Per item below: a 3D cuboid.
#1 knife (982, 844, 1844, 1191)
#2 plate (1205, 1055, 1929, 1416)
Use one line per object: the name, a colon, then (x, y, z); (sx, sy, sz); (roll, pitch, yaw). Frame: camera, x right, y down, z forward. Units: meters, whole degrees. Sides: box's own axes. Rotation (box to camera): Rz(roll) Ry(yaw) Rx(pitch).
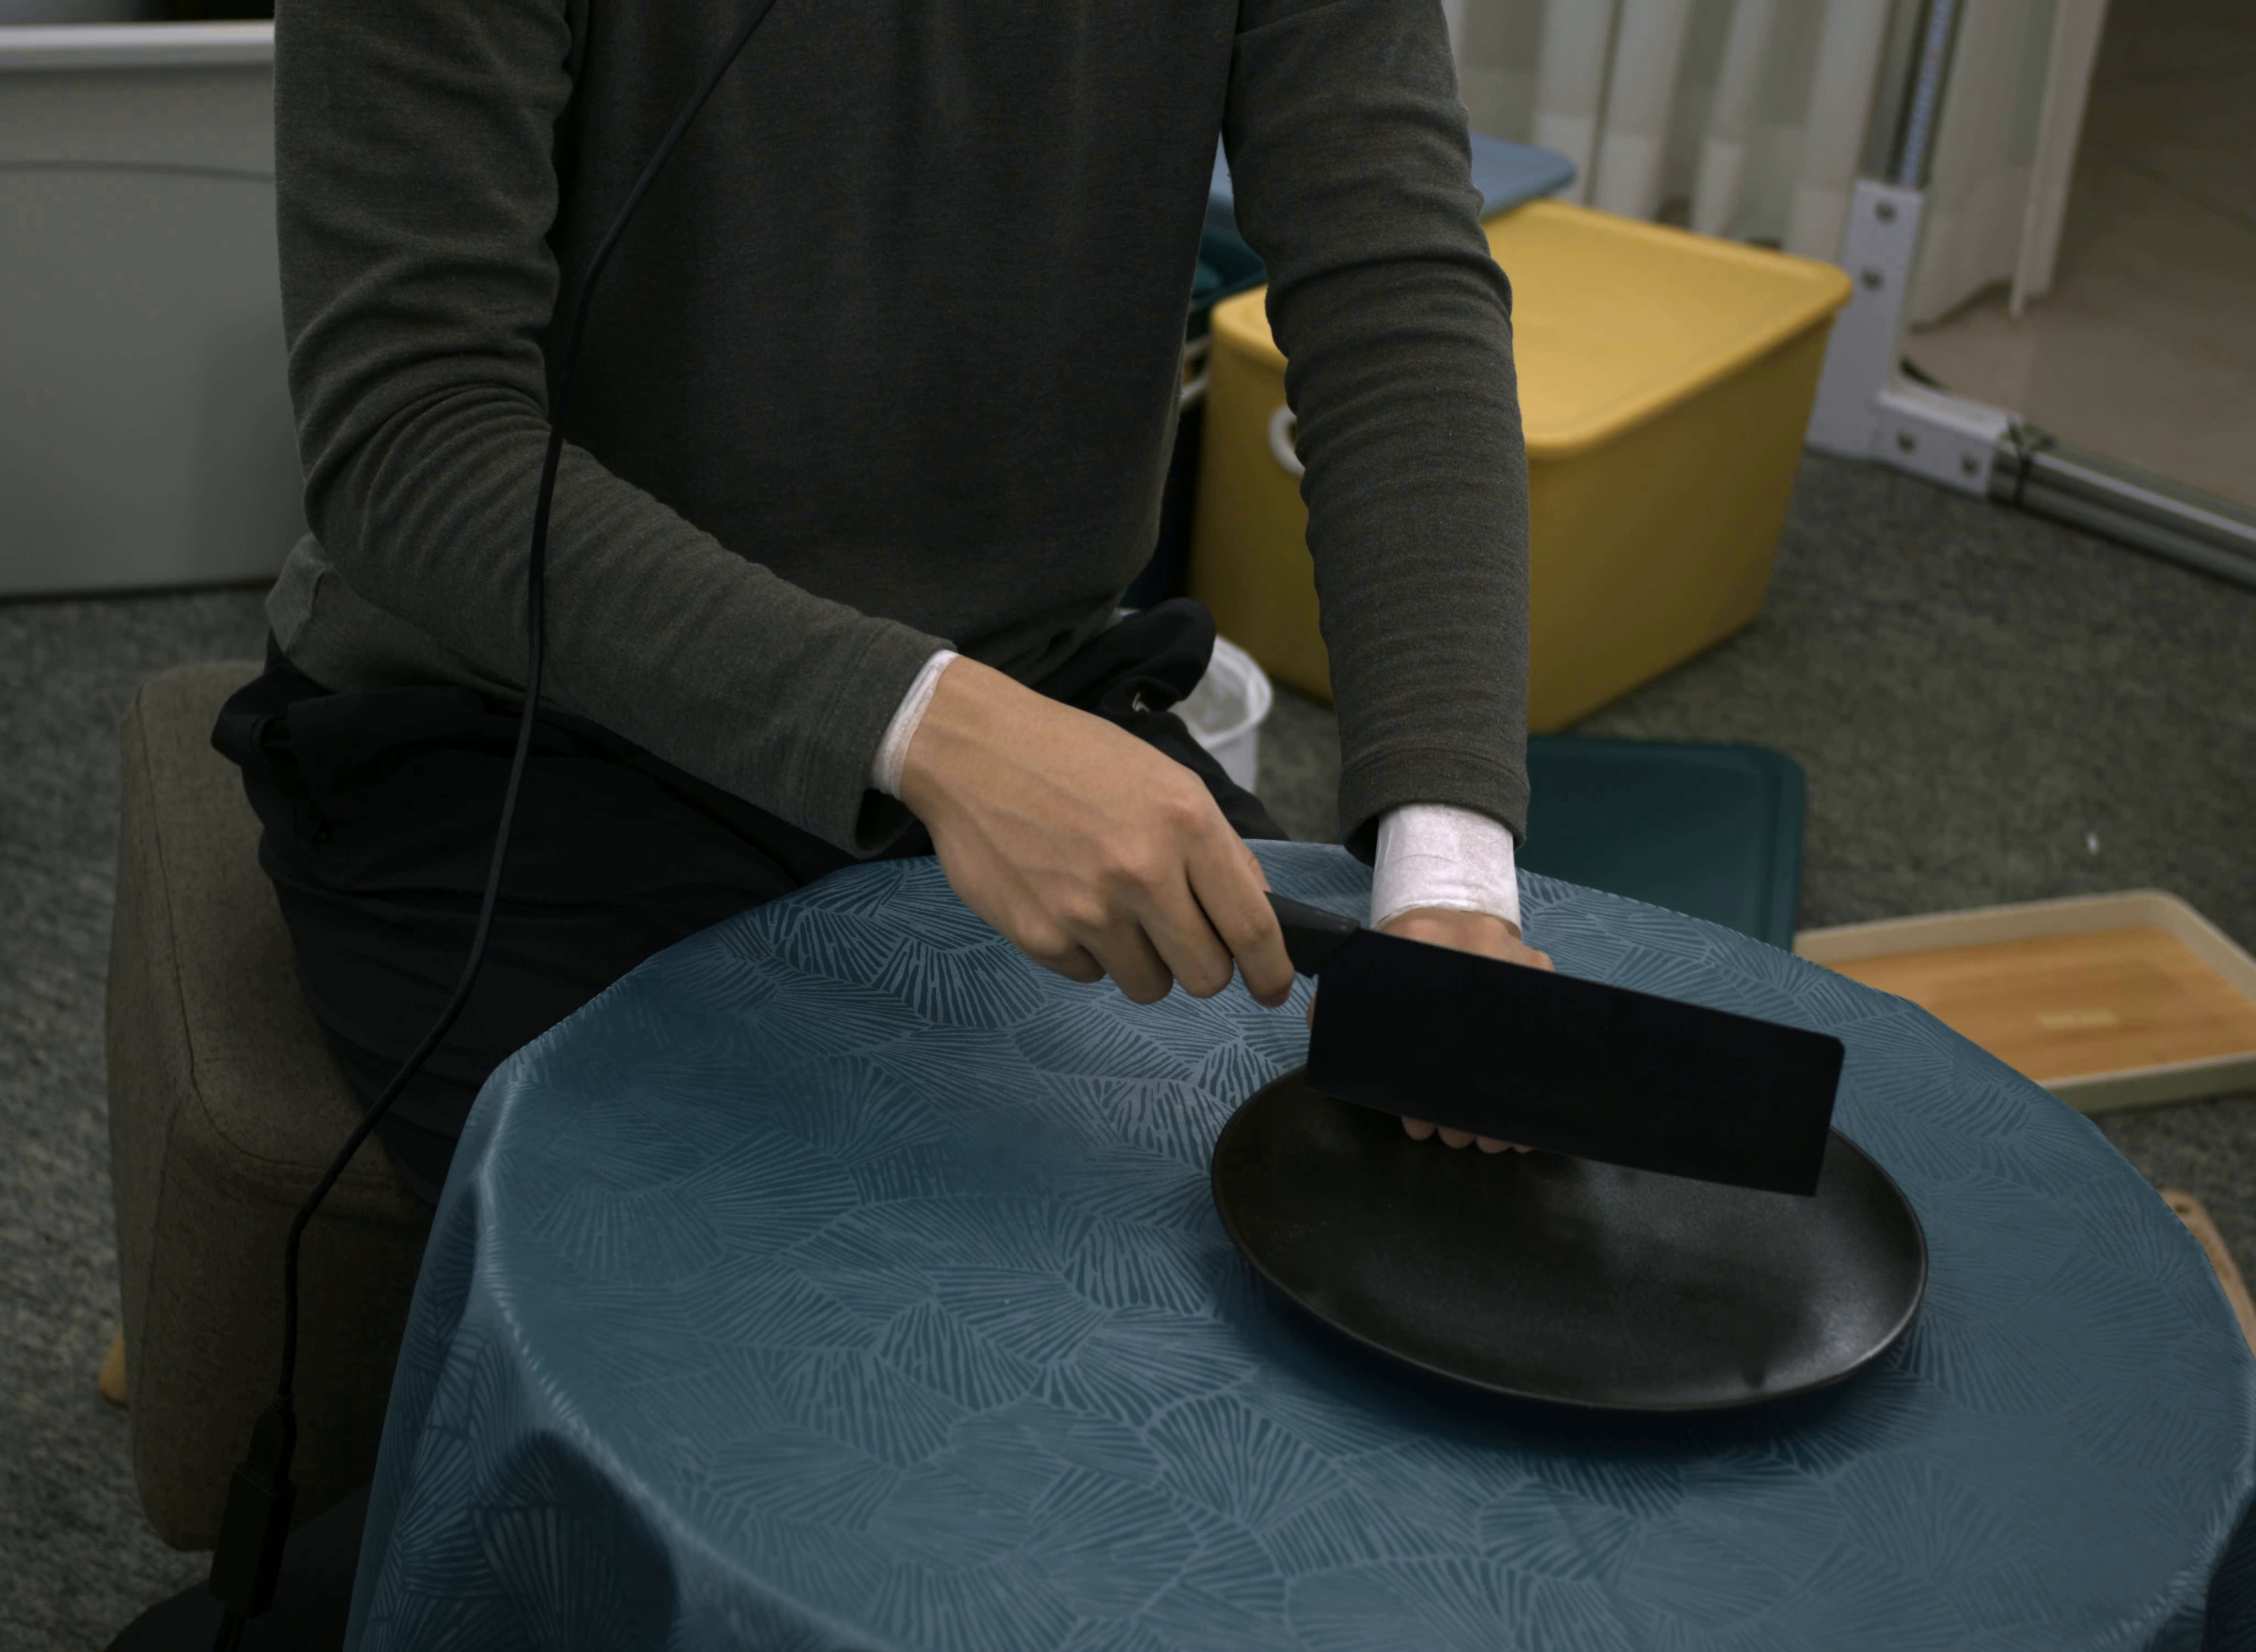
knife: (0.094, 0.062, 1.810); (0.302, 0.081, 0.021); (17, 24, 12)
plate: (0.146, 0.137, 1.786); (0.243, 0.023, 0.246); (5, 26, -3)
